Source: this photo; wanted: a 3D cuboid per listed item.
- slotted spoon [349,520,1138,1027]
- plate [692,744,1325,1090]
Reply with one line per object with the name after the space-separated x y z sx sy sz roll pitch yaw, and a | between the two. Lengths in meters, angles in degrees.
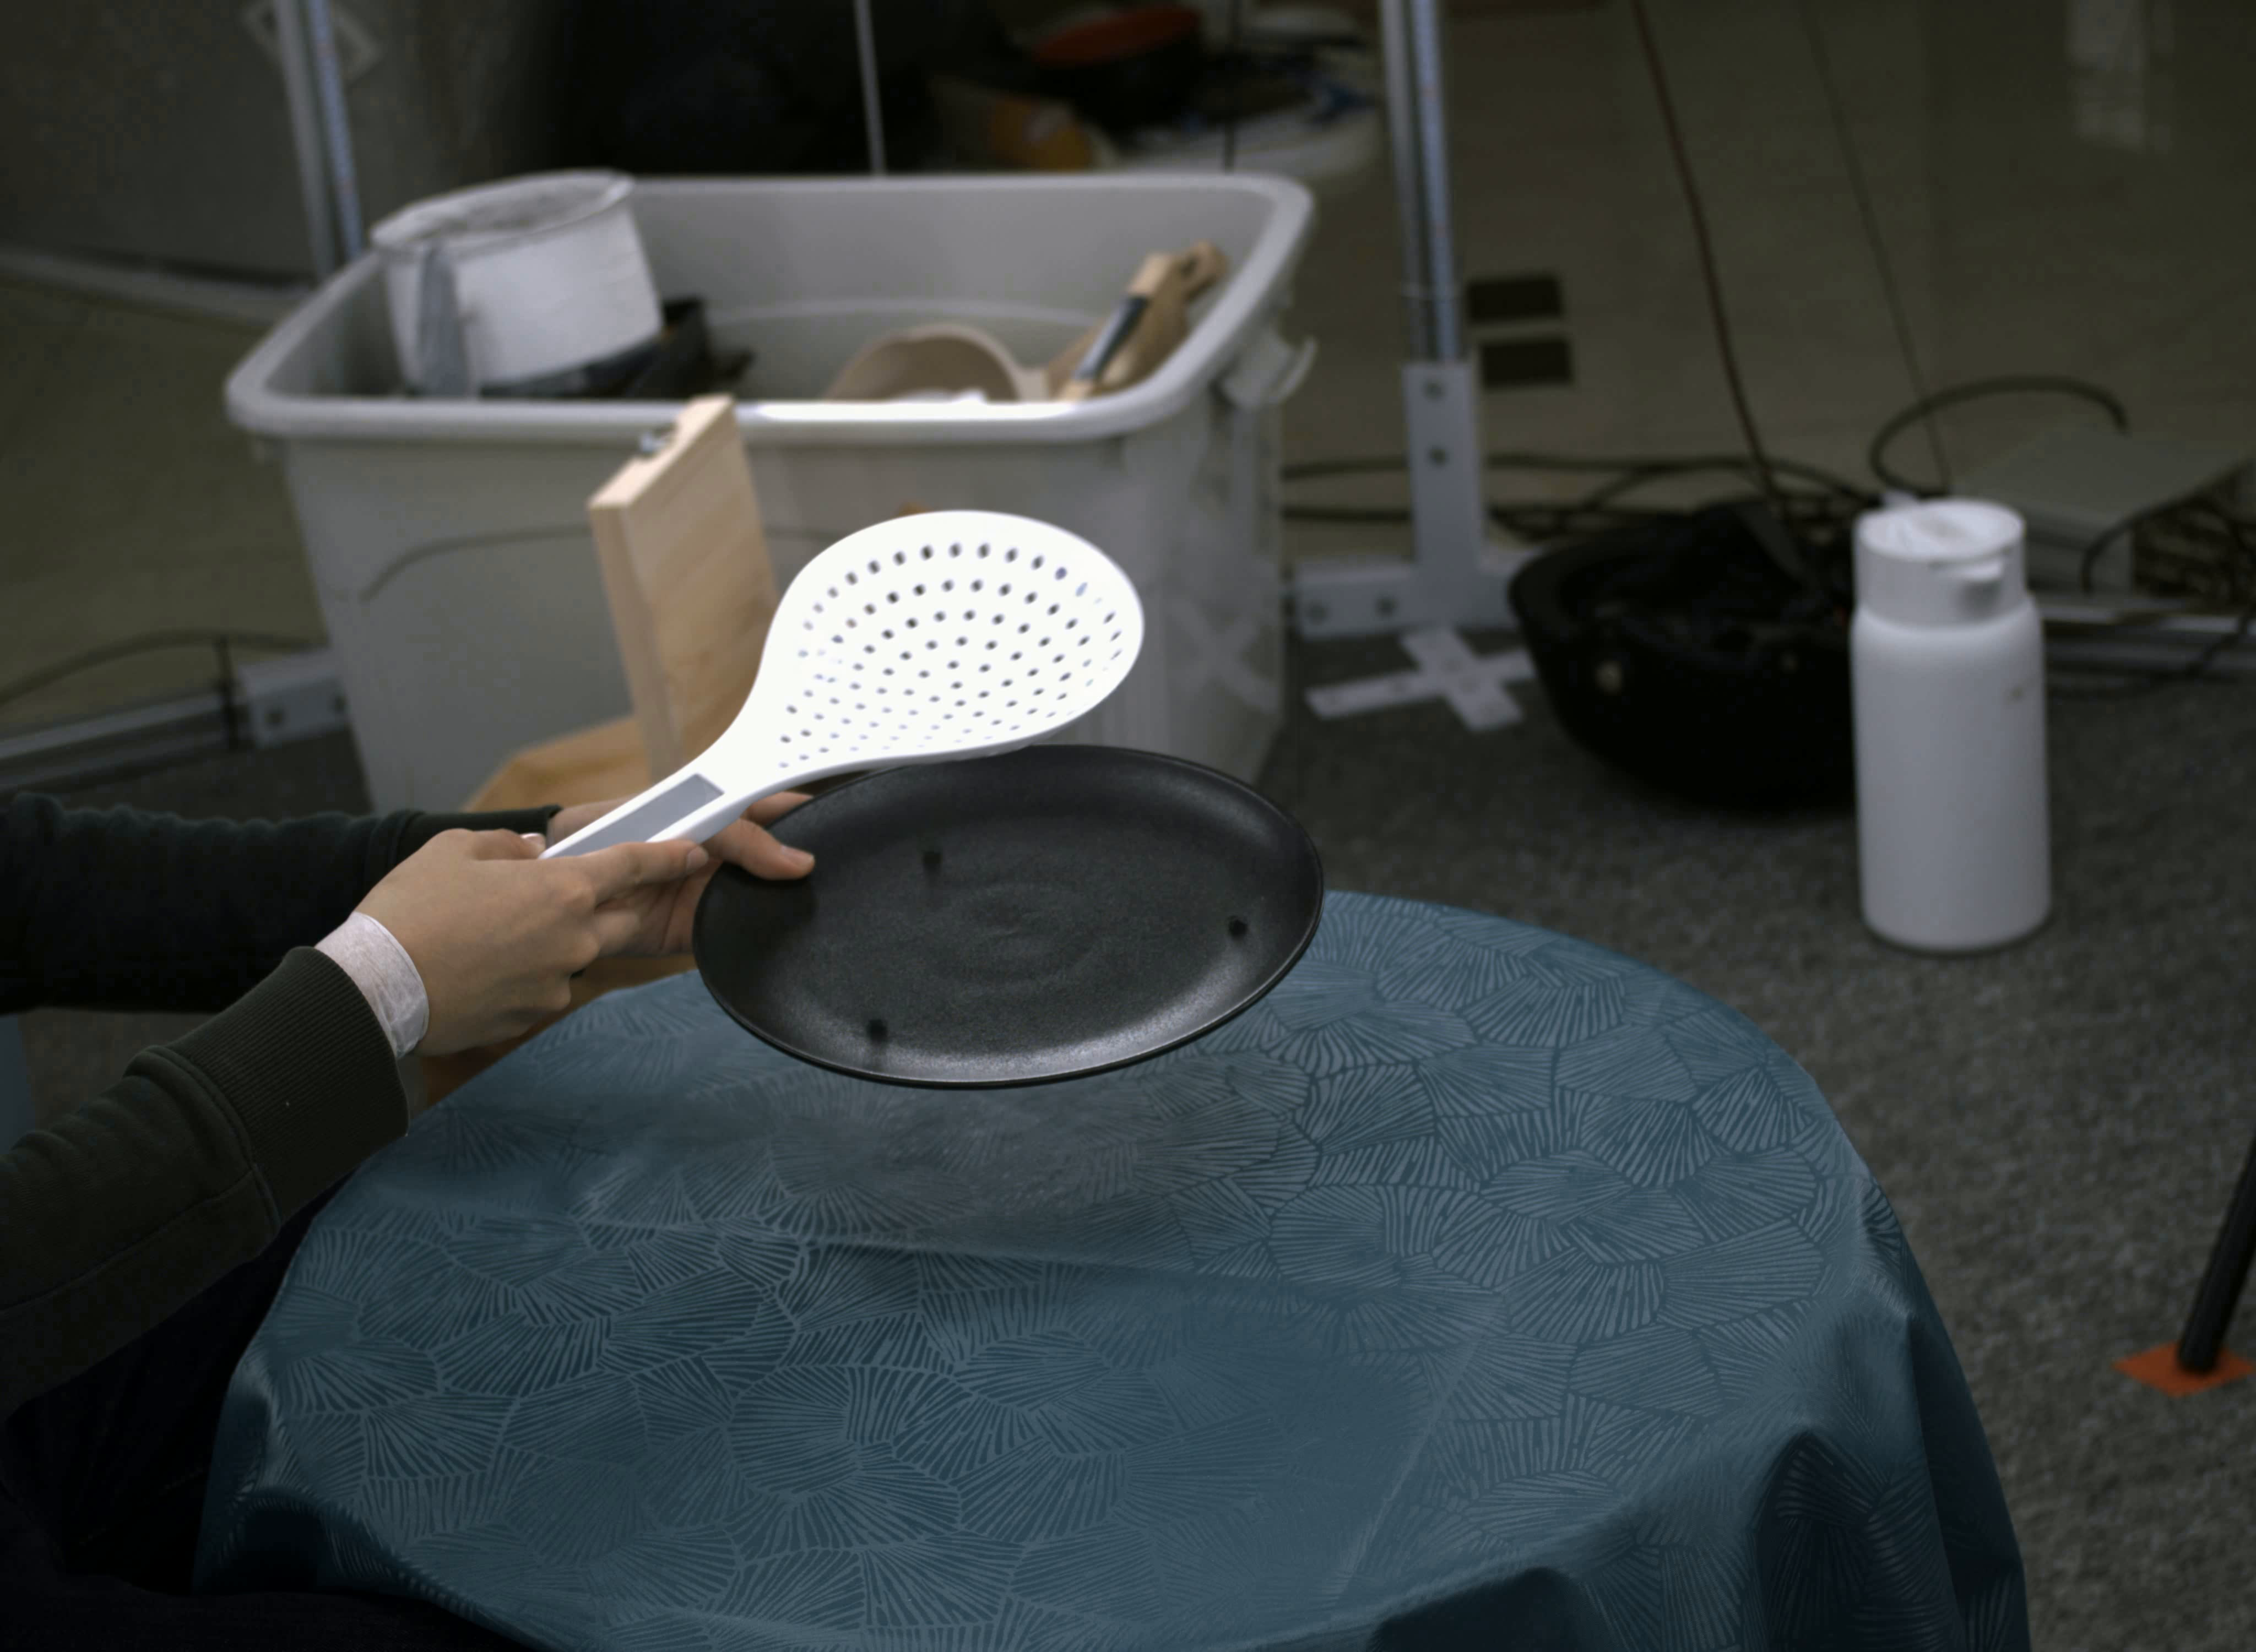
-0.141 -0.018 2.062 0.346 0.046 0.134 -29 49 -36 | slotted spoon
-0.045 0.039 2.169 0.244 0.024 0.240 -4 32 2 | plate
